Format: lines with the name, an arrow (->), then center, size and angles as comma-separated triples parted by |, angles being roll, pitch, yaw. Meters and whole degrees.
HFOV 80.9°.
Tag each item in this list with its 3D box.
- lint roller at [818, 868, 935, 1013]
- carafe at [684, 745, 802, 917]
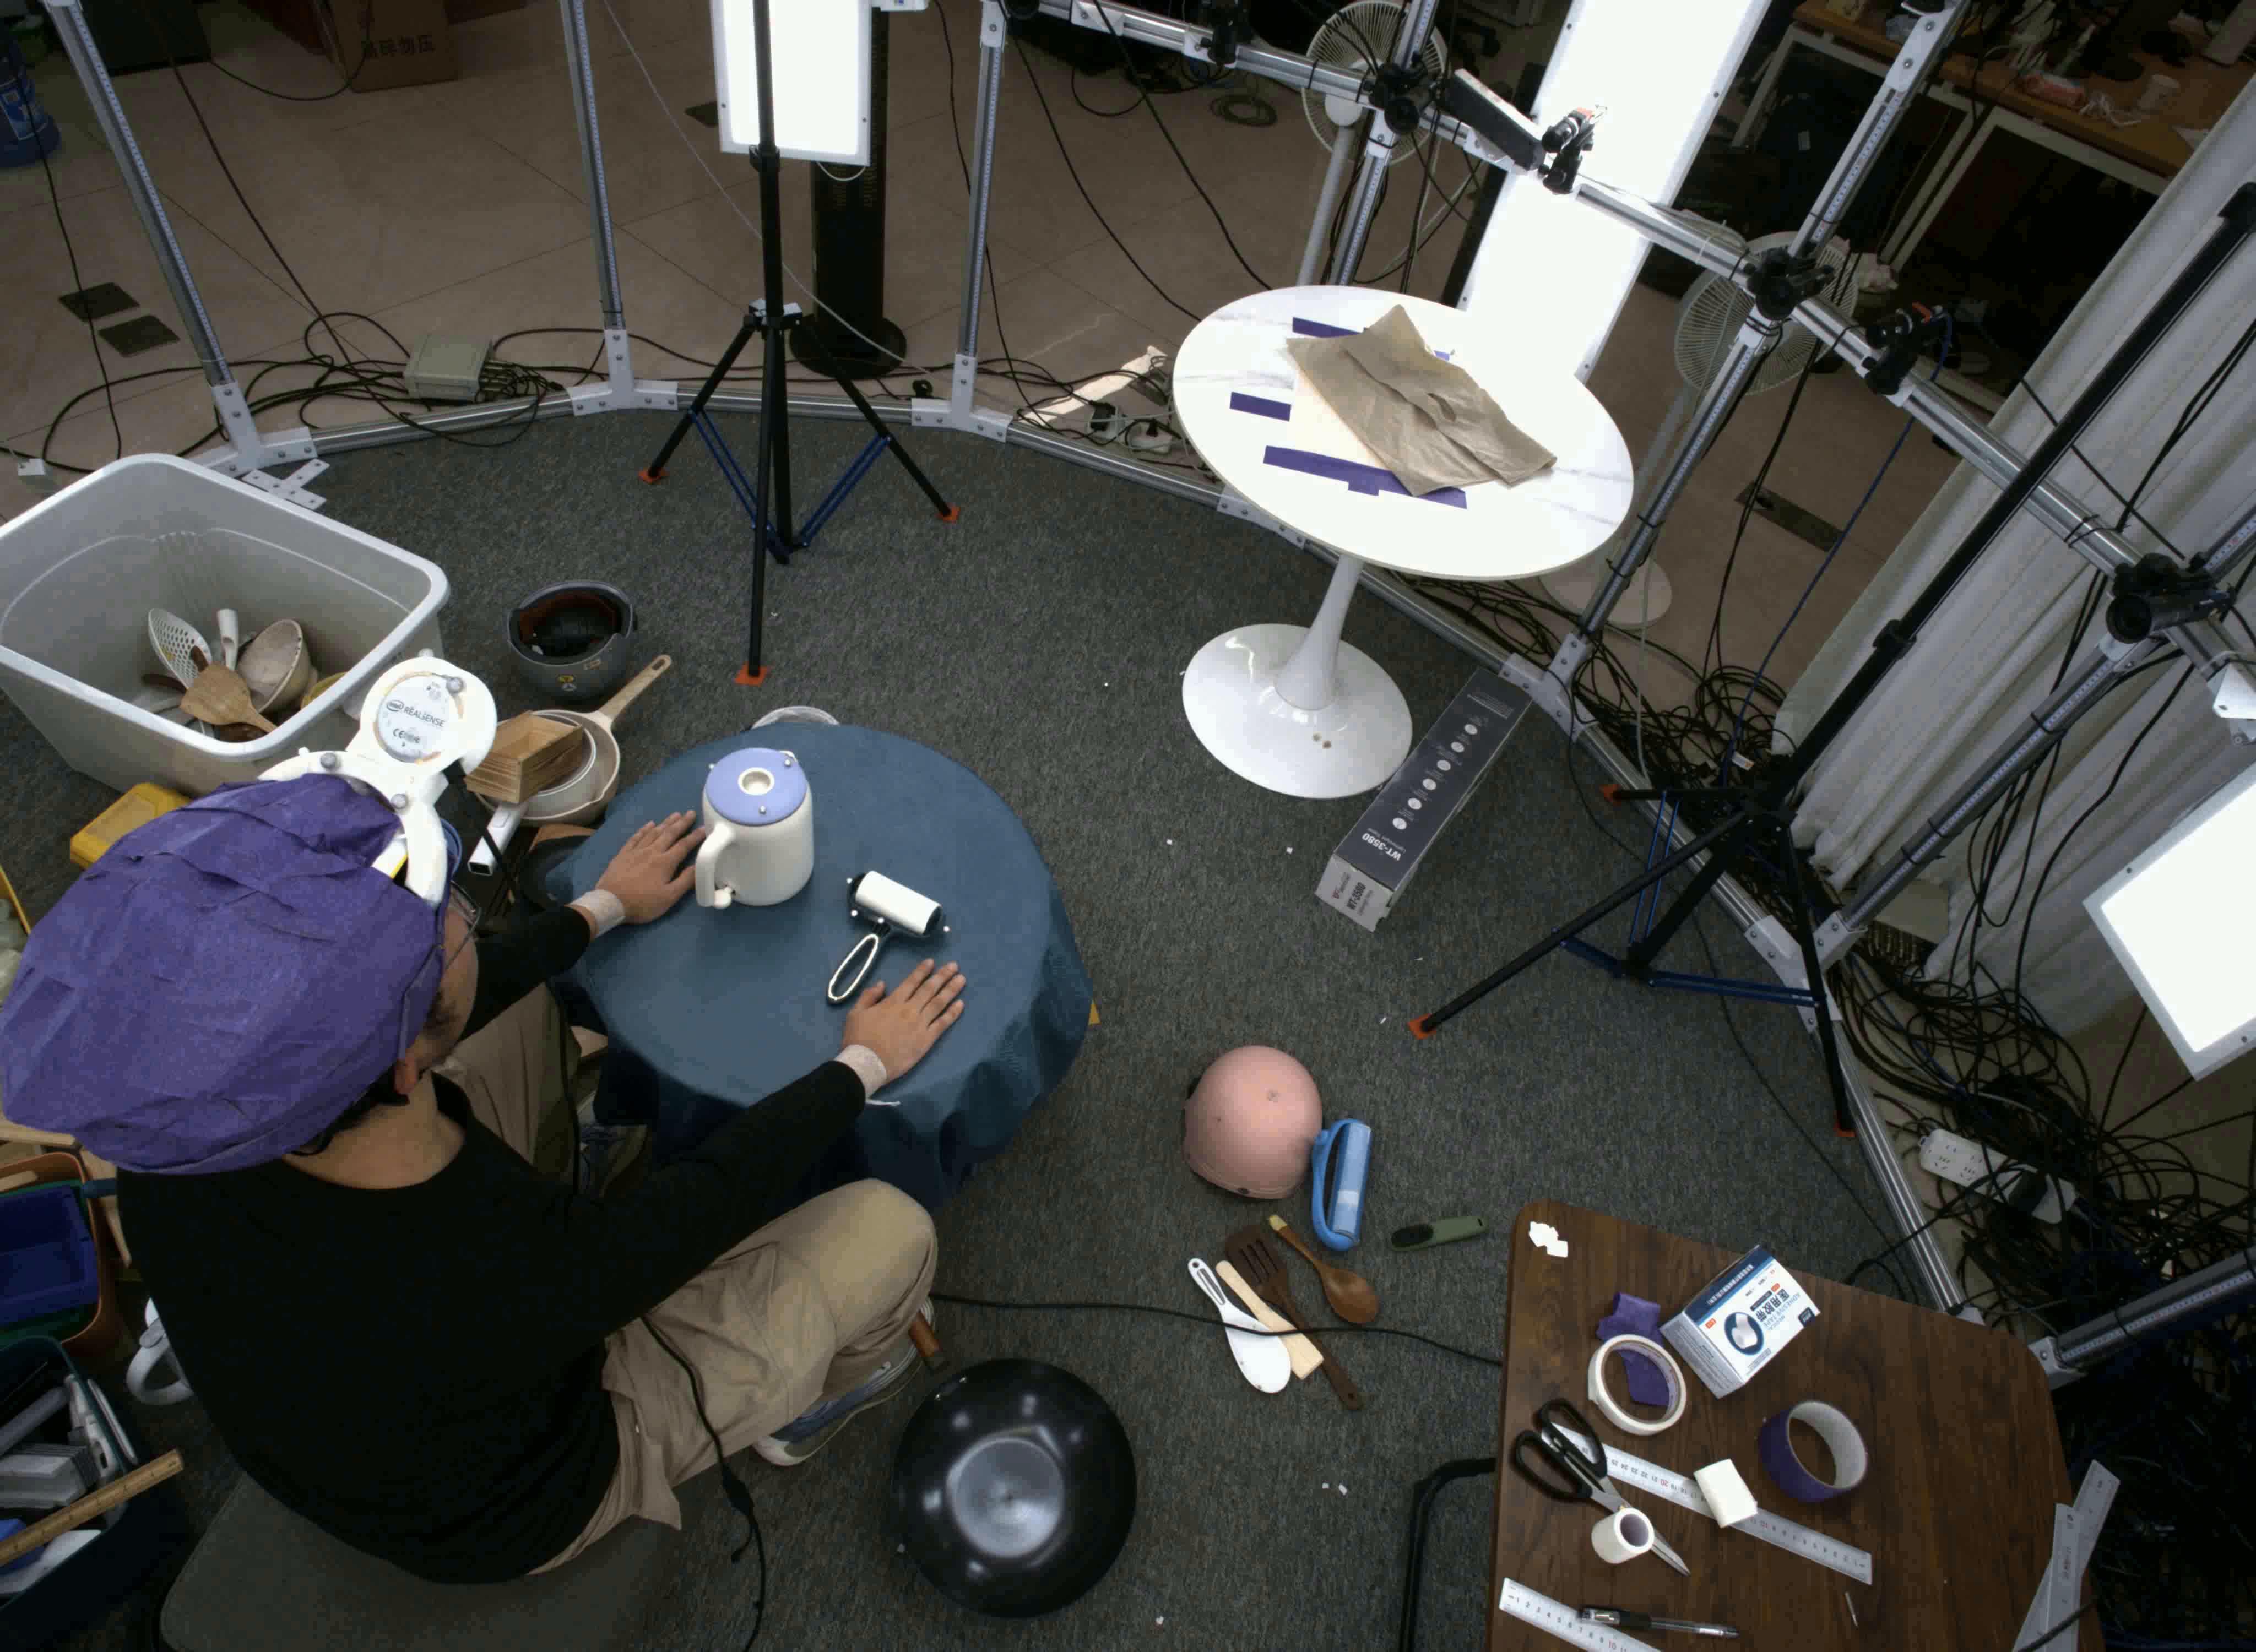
lint roller -> -0.332, 0.146, 1.607 | 0.132, 0.049, 0.179 | 25, 54, 5
carafe -> -0.482, 0.018, 1.579 | 0.130, 0.186, 0.190 | 24, 53, 7
